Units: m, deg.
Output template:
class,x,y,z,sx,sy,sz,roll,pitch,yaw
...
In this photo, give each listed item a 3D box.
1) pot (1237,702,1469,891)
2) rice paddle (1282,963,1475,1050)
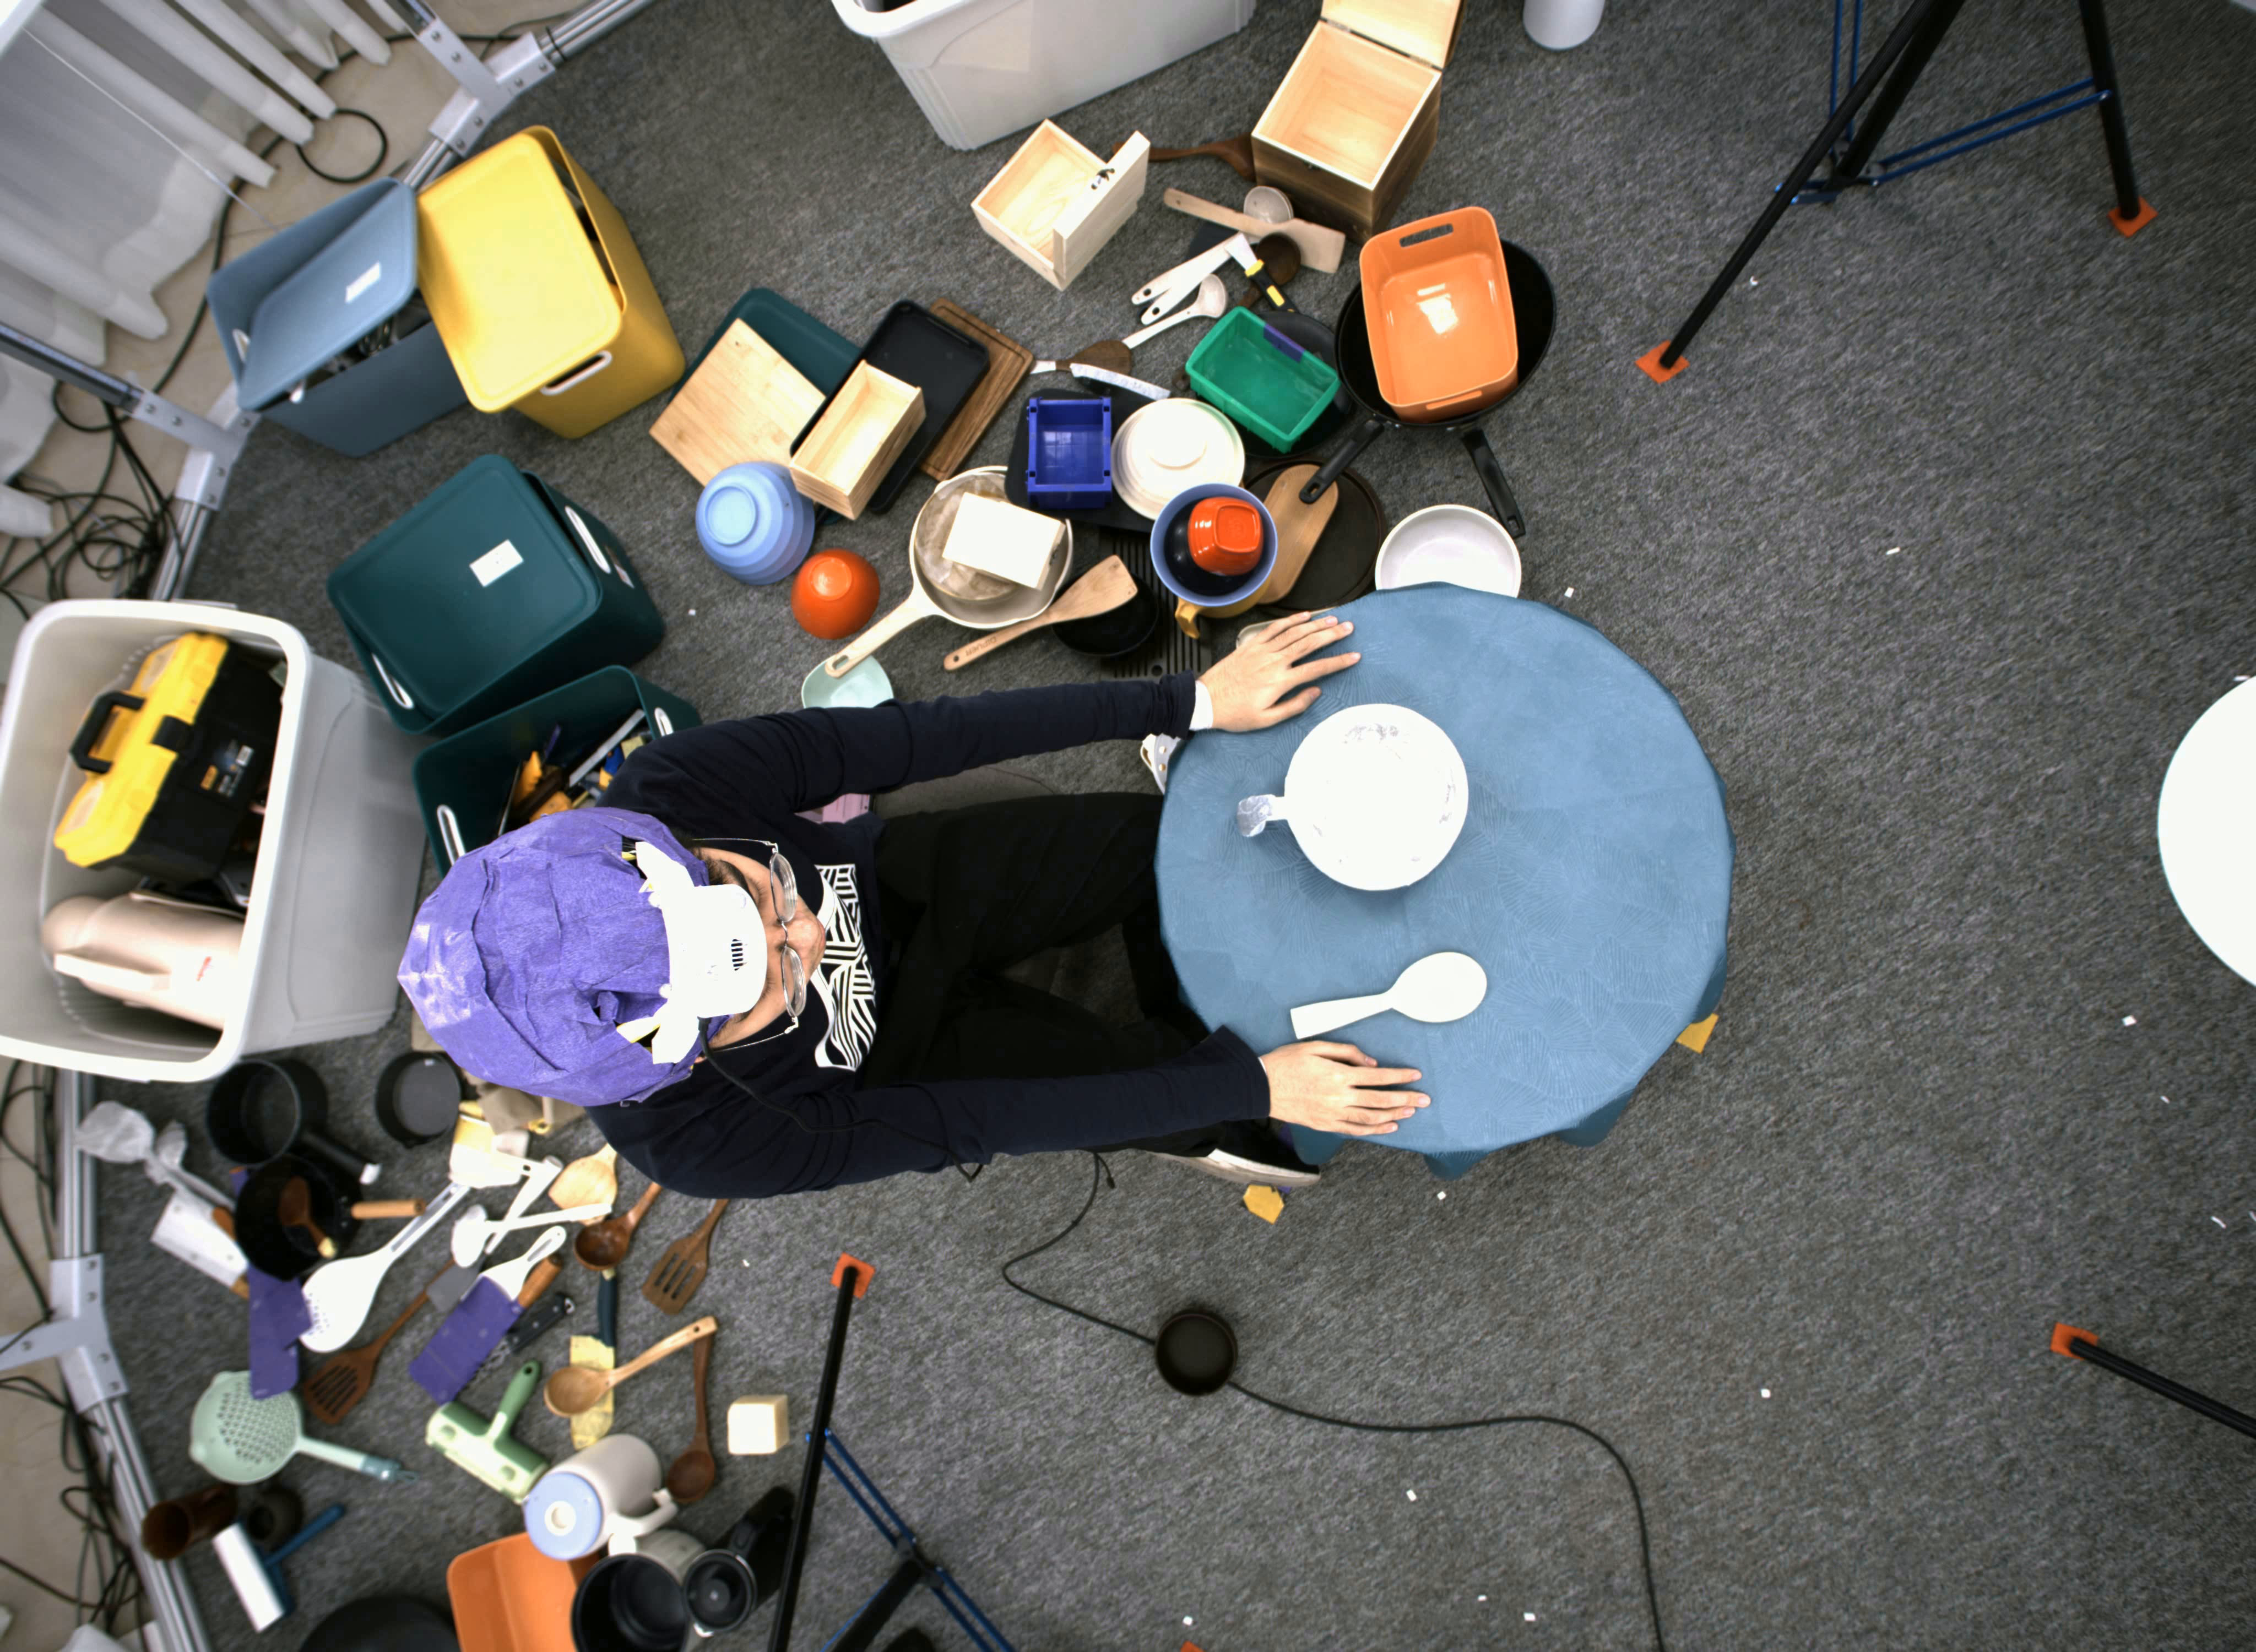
class,x,y,z,sx,sy,sz,roll,pitch,yaw
pot,0.224,-0.023,1.405,0.235,0.137,0.177,-8,82,10
rice paddle,0.264,0.192,1.446,0.206,0.029,0.068,-15,78,3
